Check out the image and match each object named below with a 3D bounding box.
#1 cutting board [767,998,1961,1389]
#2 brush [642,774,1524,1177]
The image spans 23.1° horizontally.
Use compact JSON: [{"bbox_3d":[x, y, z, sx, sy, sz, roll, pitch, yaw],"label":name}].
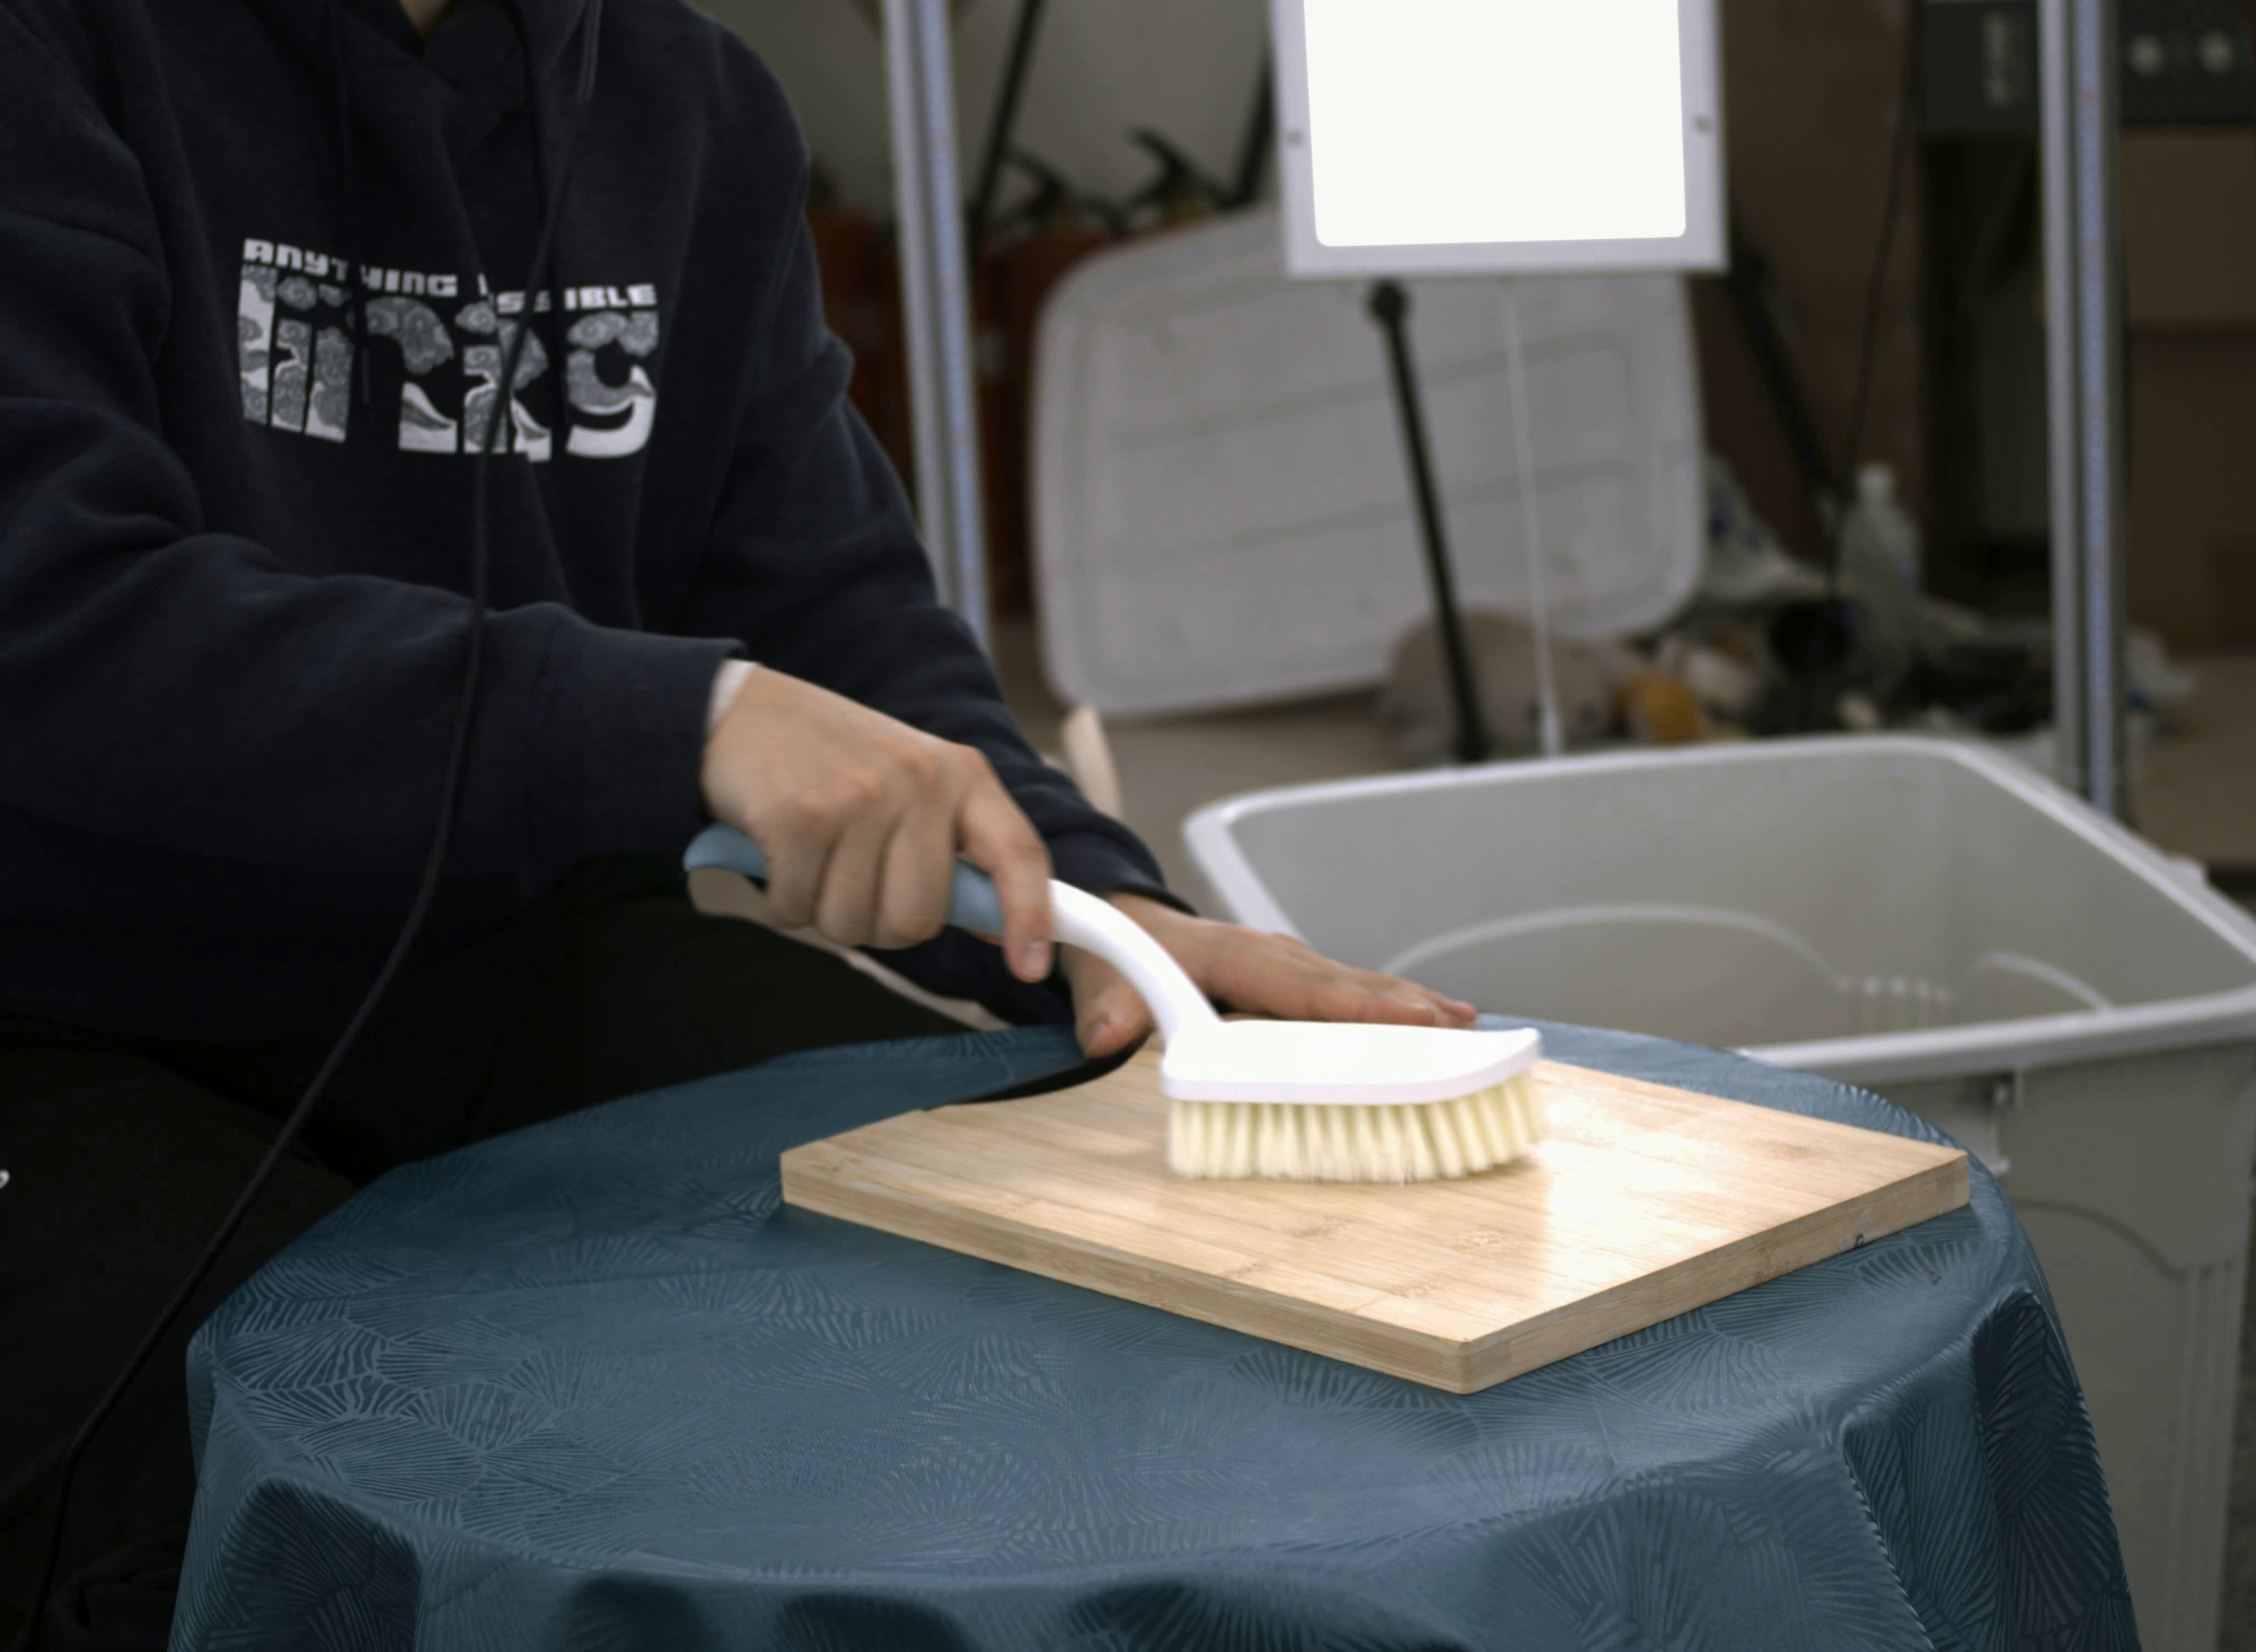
[{"bbox_3d":[0.075,0.119,1.869,0.244,0.023,0.356,-15,17,-39],"label":"cutting board"},{"bbox_3d":[-0.020,0.064,1.892,0.329,0.084,0.082,15,-14,18],"label":"brush"}]
